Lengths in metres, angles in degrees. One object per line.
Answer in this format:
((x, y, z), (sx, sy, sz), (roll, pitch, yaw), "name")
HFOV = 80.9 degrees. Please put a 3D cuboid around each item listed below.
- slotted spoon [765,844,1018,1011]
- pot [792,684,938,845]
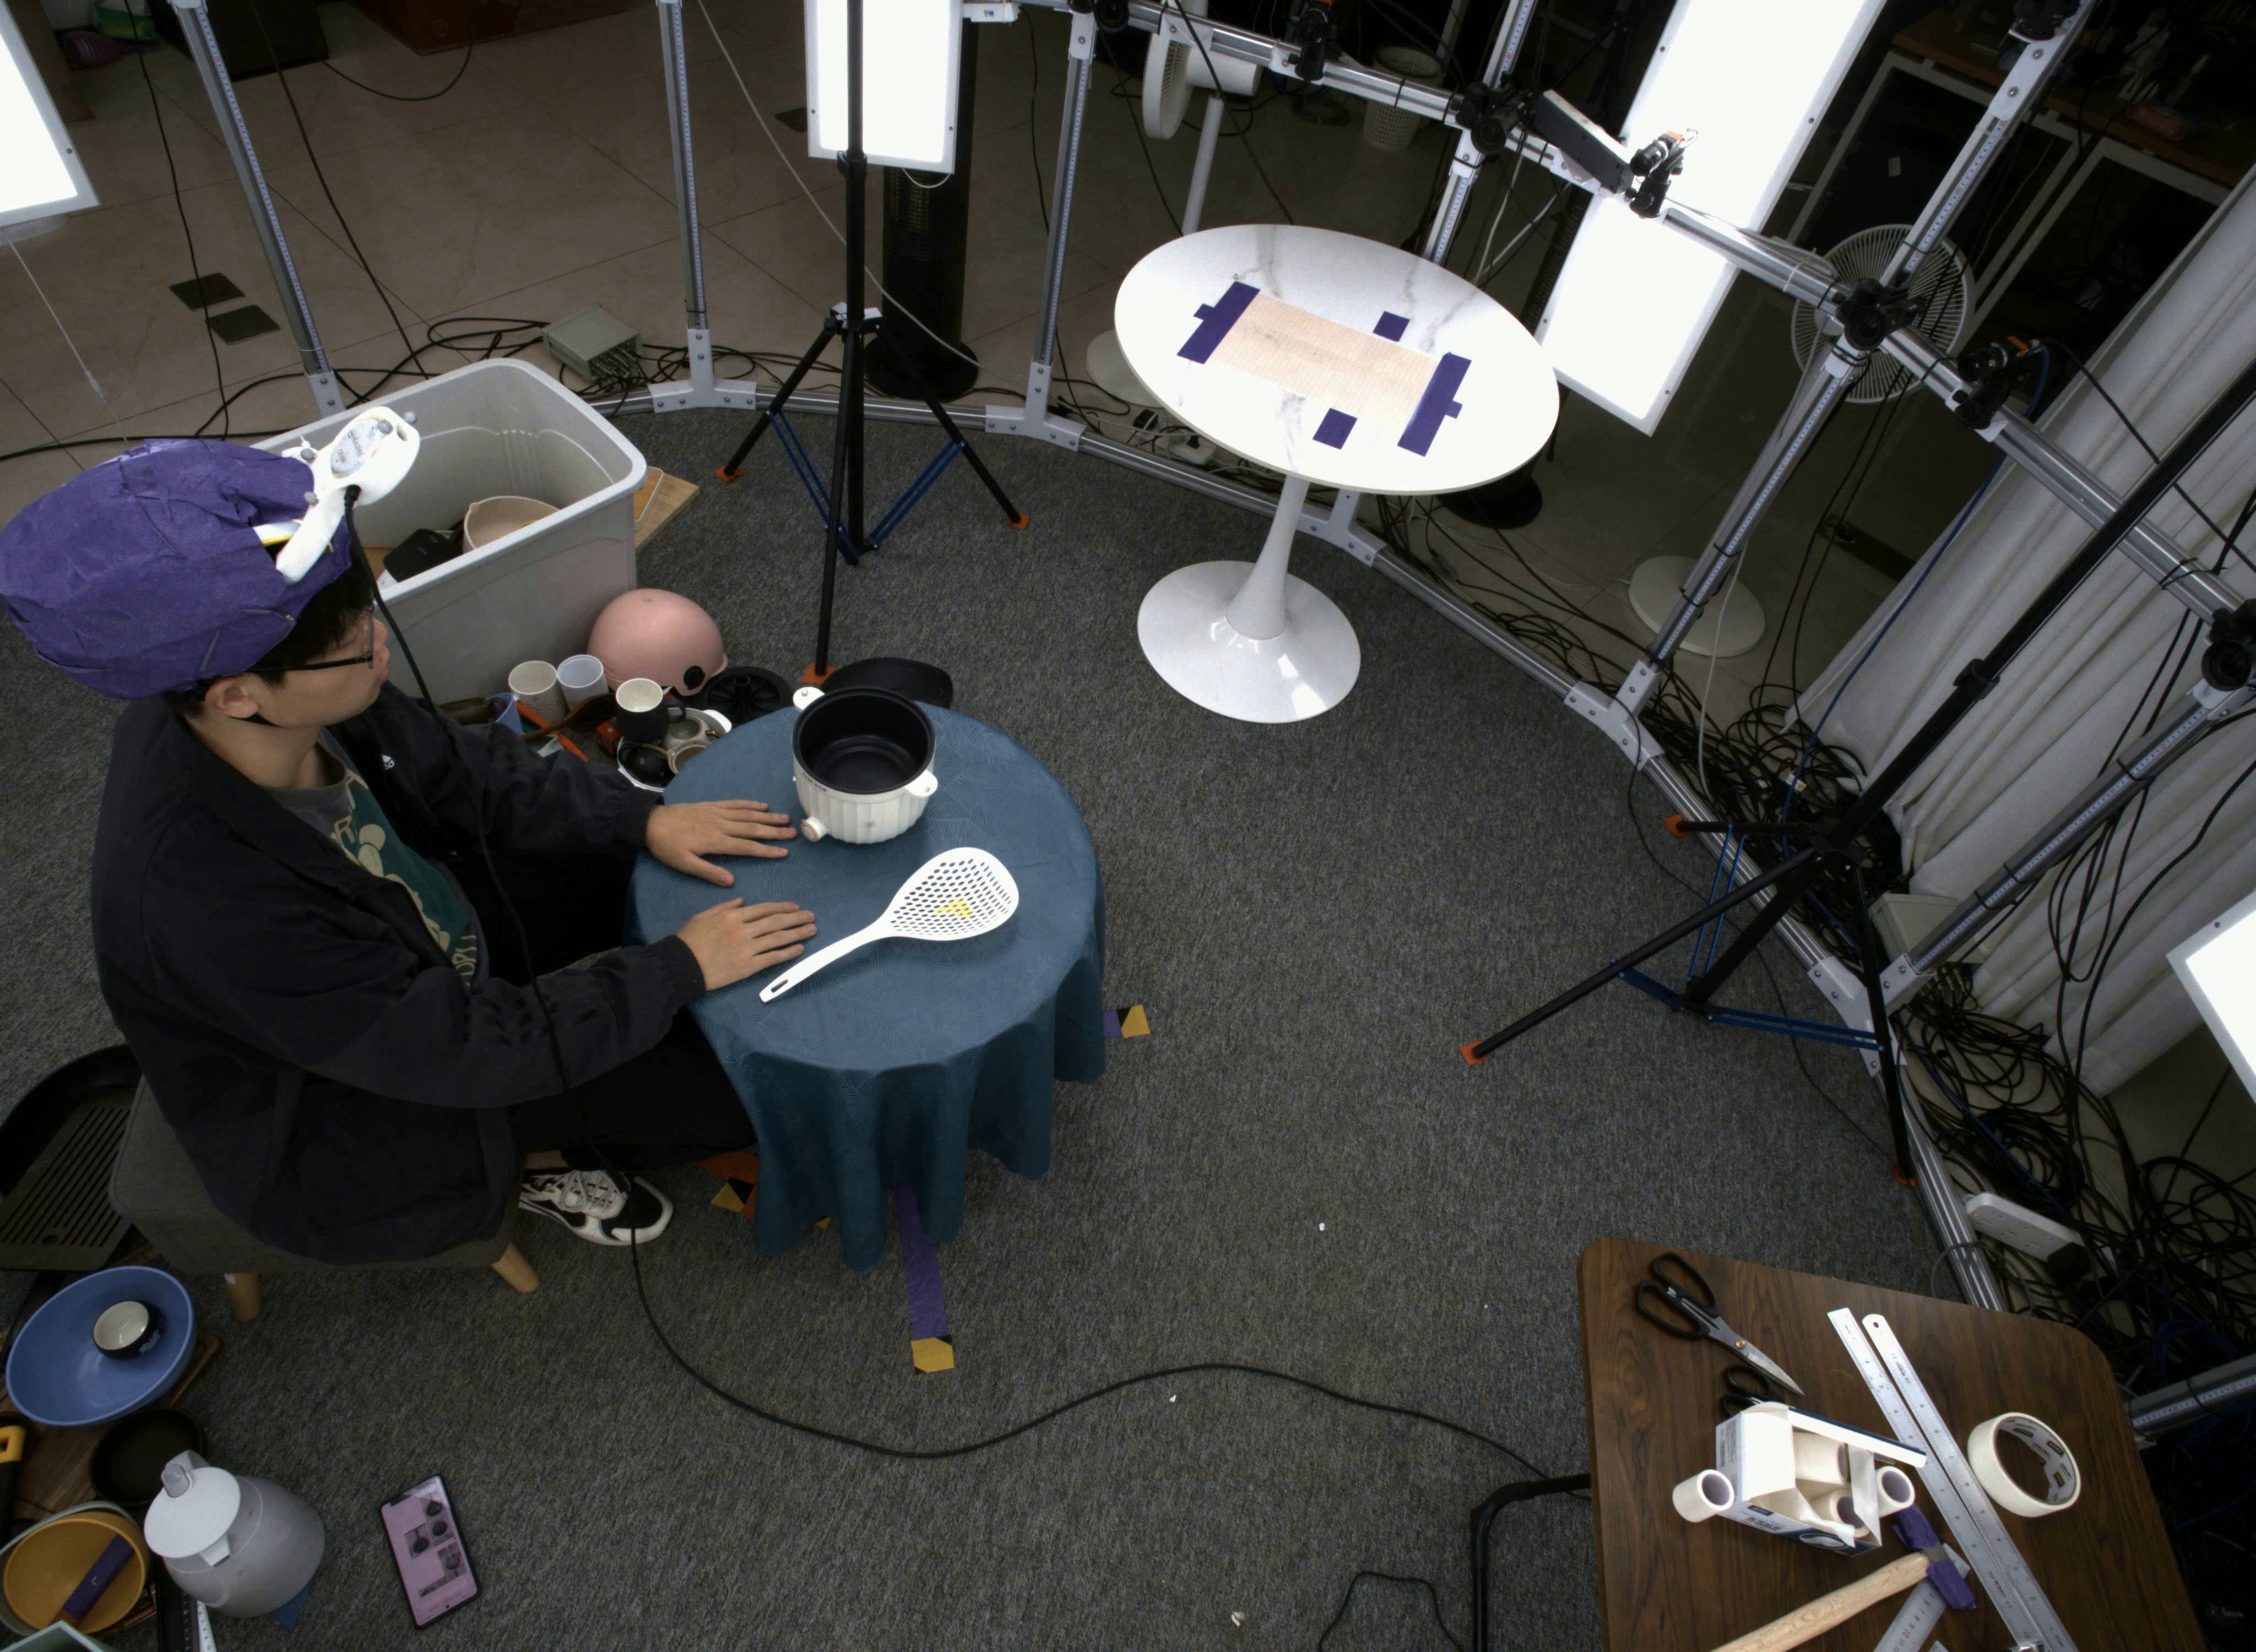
((-0.299, 0.133, 1.630), (0.349, 0.051, 0.133), (-25, 63, -28), "slotted spoon")
((-0.350, -0.070, 1.706), (0.235, 0.146, 0.190), (34, 51, 15), "pot")
